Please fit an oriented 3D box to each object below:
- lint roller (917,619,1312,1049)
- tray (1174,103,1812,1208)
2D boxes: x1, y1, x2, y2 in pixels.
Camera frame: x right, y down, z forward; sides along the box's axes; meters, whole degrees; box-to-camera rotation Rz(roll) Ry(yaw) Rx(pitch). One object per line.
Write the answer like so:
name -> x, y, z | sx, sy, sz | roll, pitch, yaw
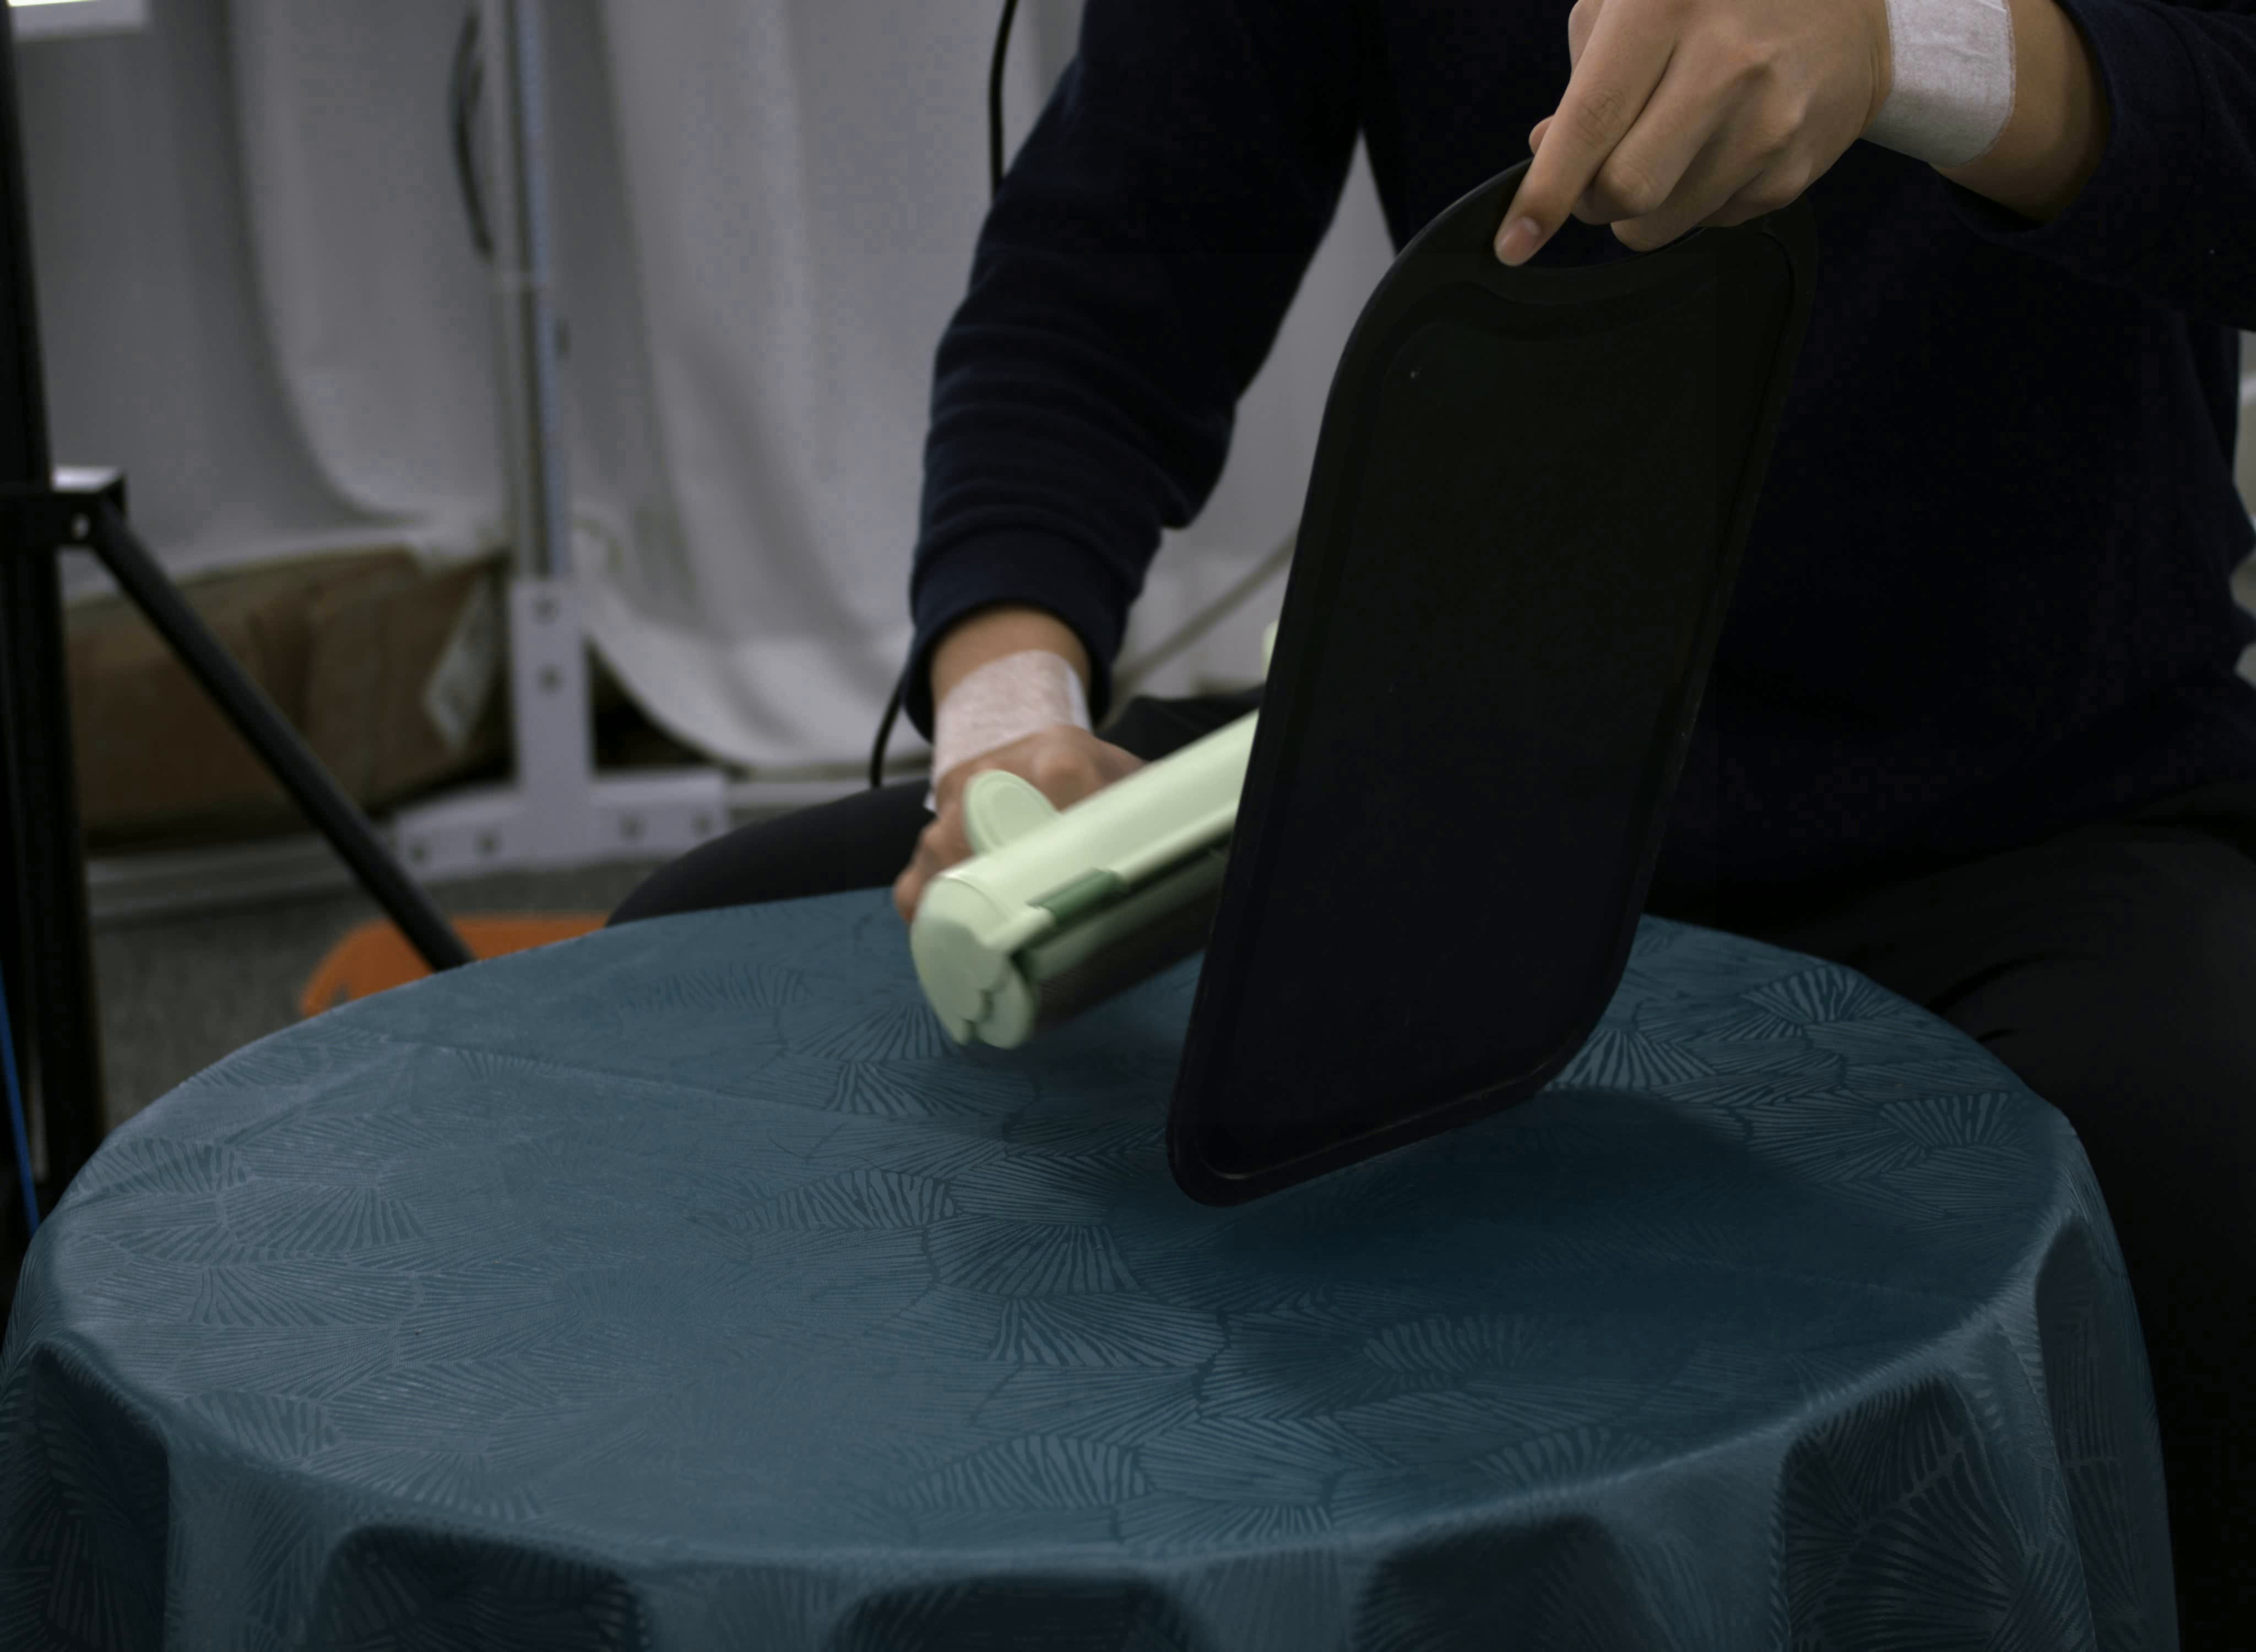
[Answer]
lint roller -> -0.006, -0.001, 1.623 | 0.195, 0.082, 0.187 | -27, 14, -30
tray -> 0.107, -0.046, 1.502 | 0.010, 0.326, 0.206 | 30, 29, 35
